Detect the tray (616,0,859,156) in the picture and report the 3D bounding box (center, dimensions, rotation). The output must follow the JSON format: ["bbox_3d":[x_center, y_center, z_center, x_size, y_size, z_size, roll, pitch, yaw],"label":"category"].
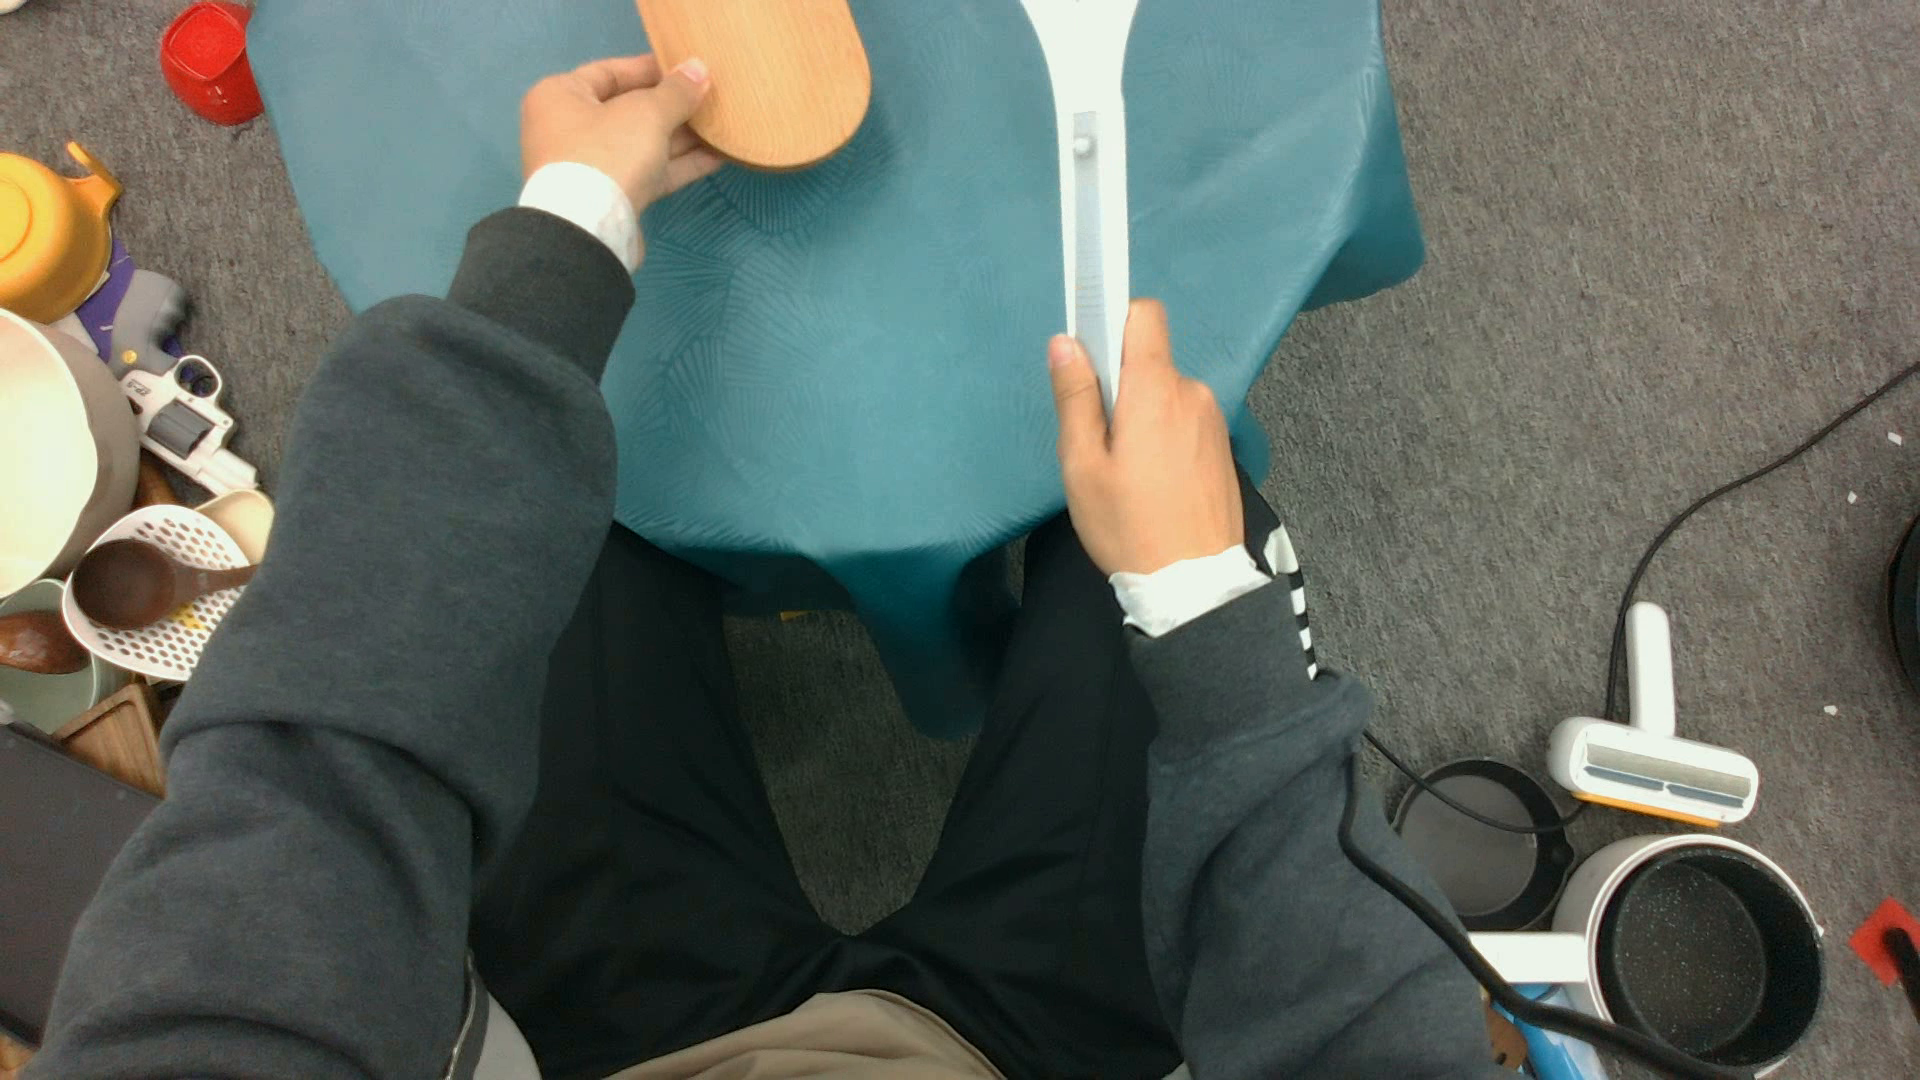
[{"bbox_3d":[-0.130,-0.295,0.686,0.102,0.020,0.231,-25,86,-17],"label":"tray"}]

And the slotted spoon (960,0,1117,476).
[{"bbox_3d":[0.032,-0.198,0.587,0.046,0.135,0.349,-16,103,-44],"label":"slotted spoon"}]
